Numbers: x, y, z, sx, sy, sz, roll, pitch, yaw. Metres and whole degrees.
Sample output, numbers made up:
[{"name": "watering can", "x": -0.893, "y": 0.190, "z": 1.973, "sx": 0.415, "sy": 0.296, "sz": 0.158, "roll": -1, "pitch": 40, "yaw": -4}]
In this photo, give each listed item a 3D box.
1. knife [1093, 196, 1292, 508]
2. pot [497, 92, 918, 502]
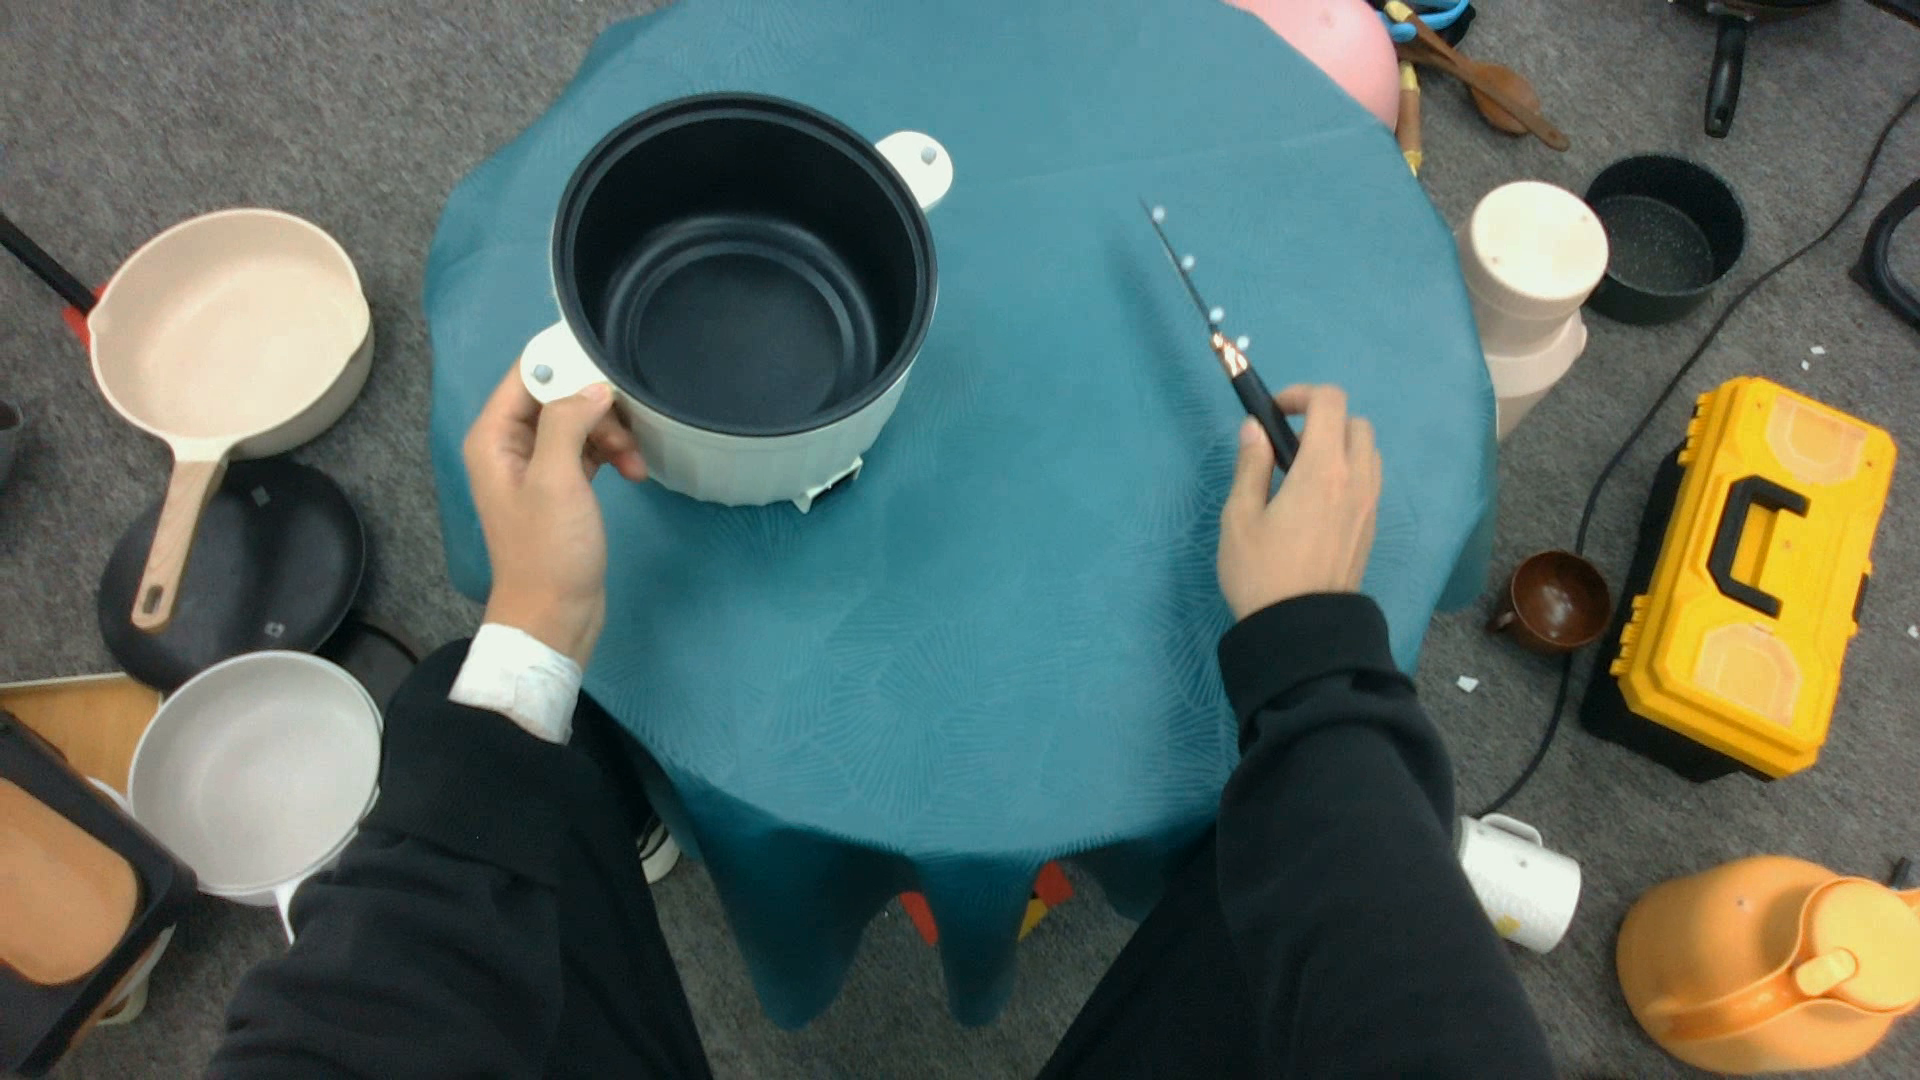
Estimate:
[{"name": "knife", "x": 0.128, "y": -0.112, "z": 0.779, "sx": 0.026, "sy": 0.017, "sz": 0.226, "roll": 0, "pitch": 56, "yaw": -42}, {"name": "pot", "x": -0.132, "y": -0.119, "z": 0.717, "sx": 0.241, "sy": 0.142, "sz": 0.190, "roll": -37, "pitch": 85, "yaw": -22}]
